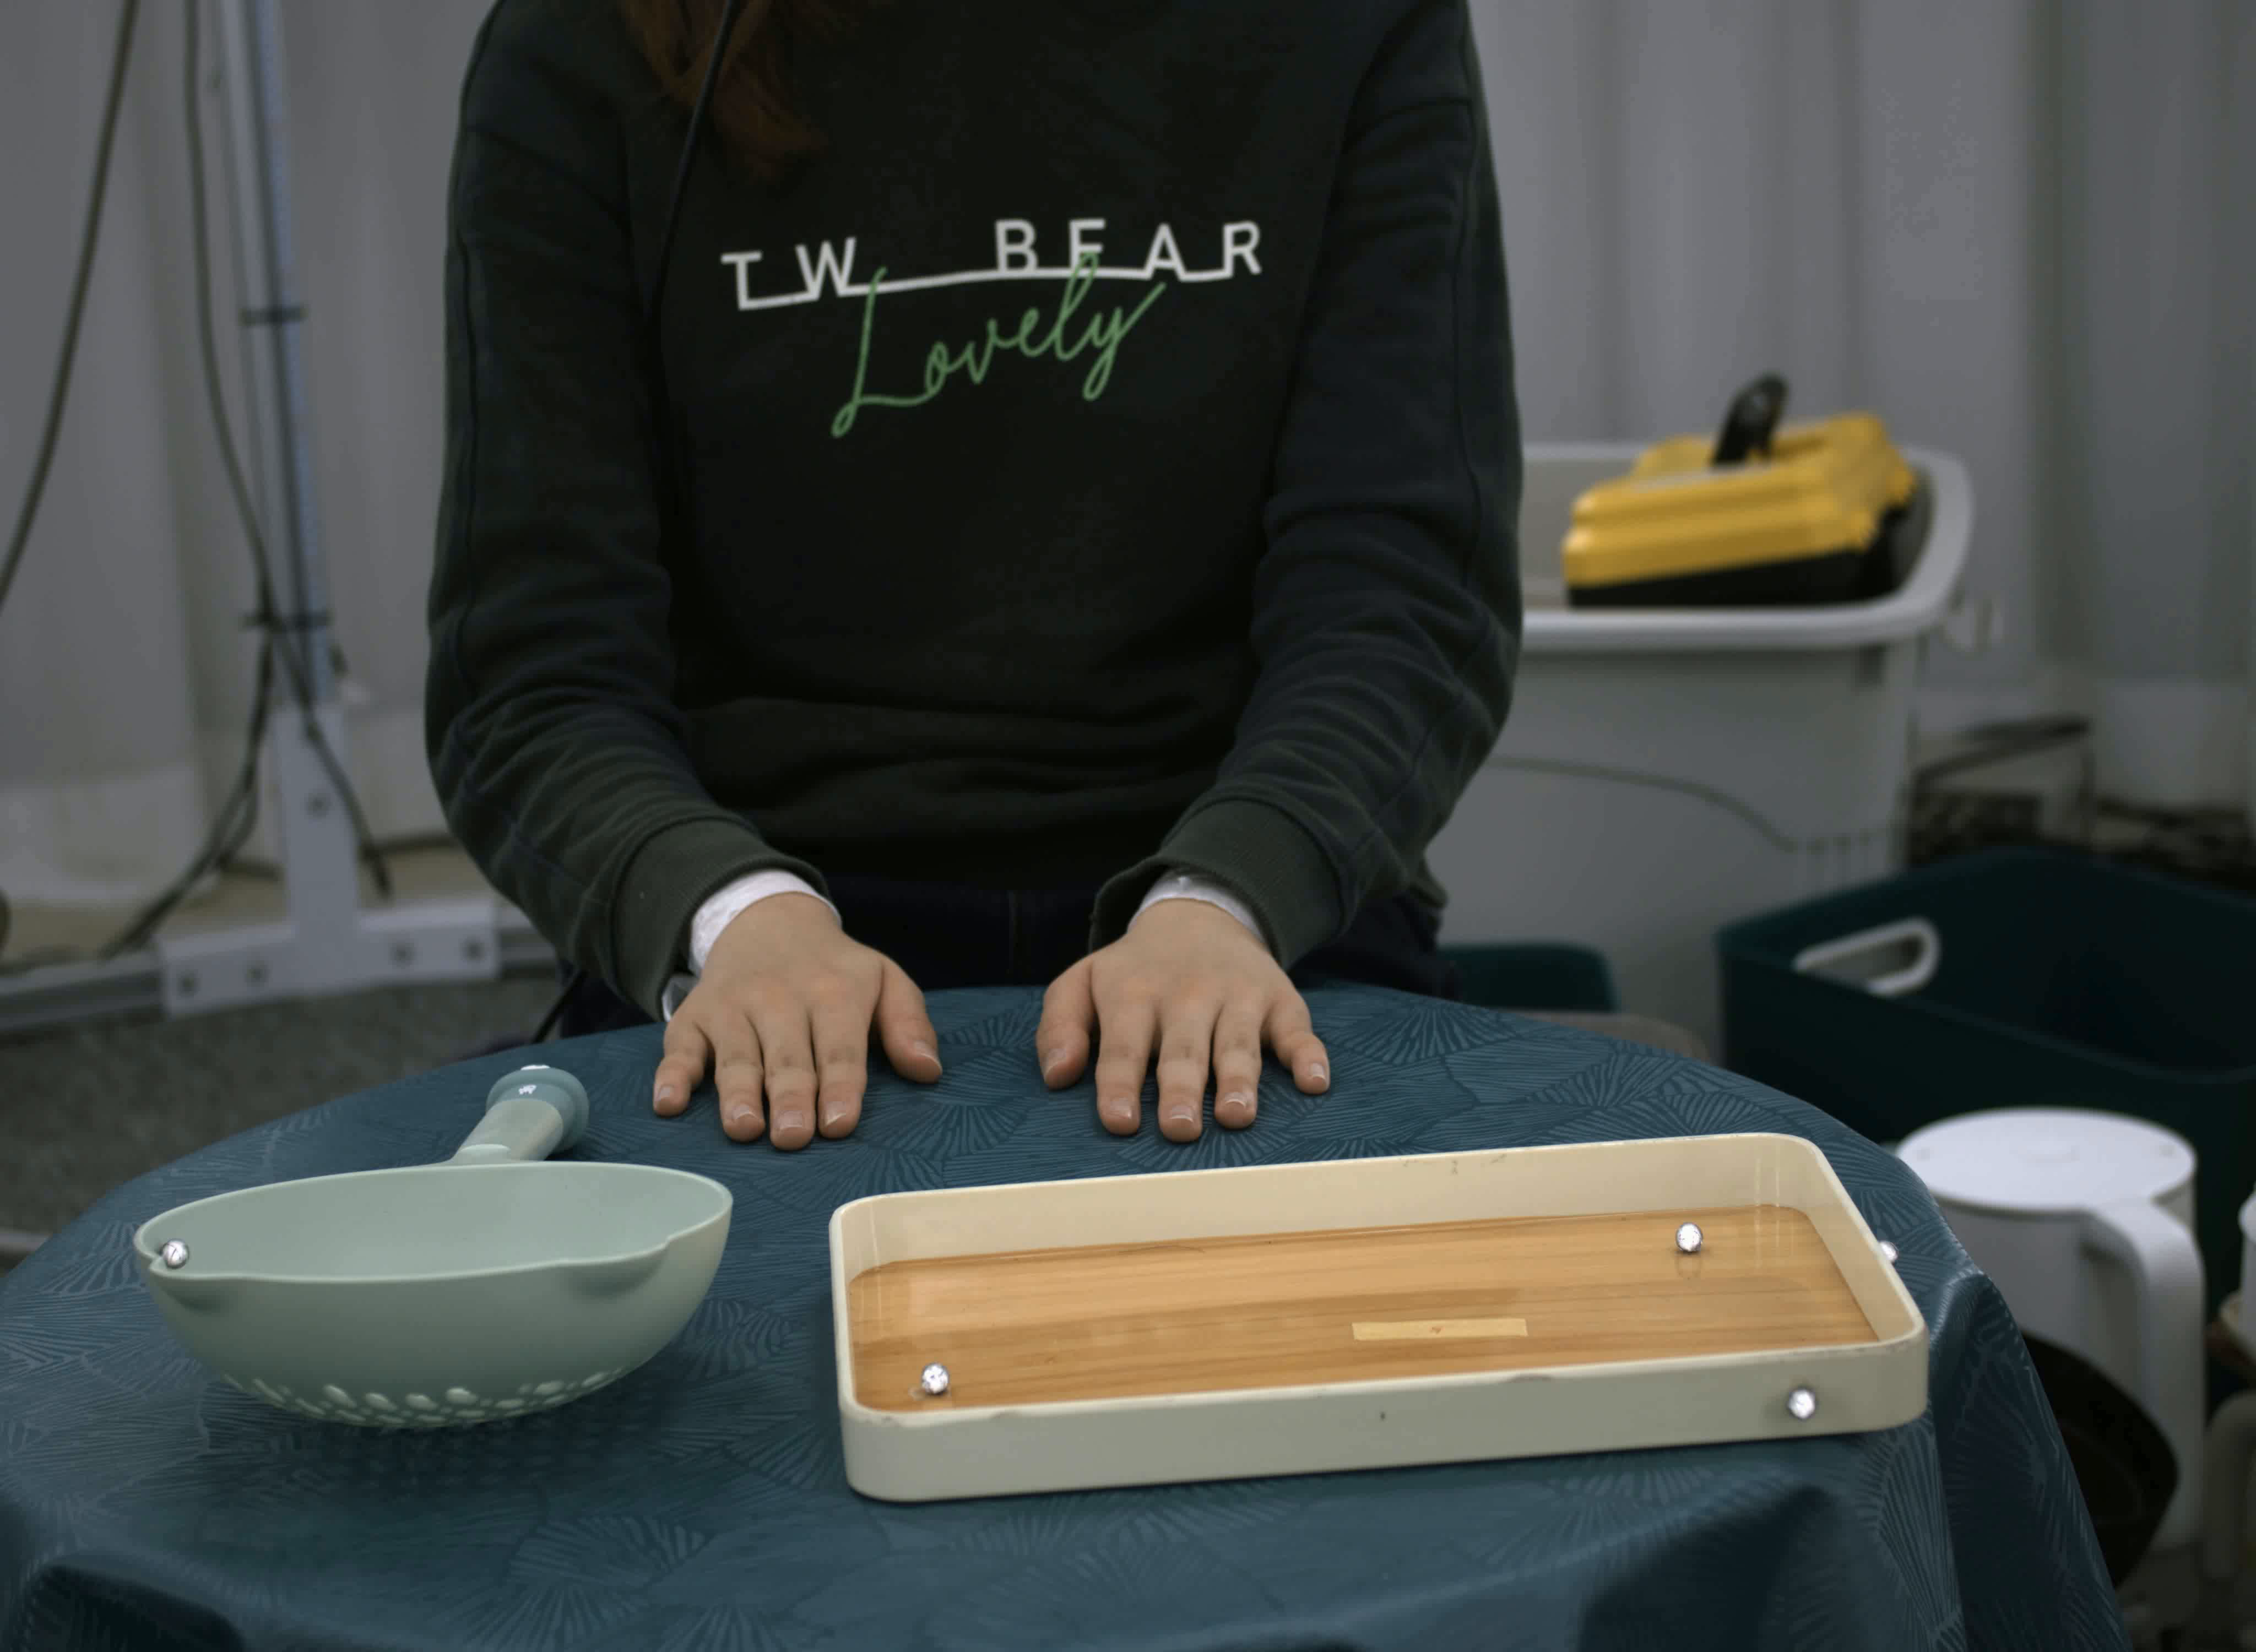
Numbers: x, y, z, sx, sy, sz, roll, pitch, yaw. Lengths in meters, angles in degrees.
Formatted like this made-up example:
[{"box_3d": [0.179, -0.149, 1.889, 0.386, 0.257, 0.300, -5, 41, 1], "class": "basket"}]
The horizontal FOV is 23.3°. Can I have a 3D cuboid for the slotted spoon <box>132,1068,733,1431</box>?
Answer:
[{"box_3d": [-0.193, 0.111, 1.641, 0.169, 0.075, 0.361, -2, 15, 1], "class": "slotted spoon"}]

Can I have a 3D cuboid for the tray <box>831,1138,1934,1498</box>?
[{"box_3d": [0.066, 0.138, 1.562, 0.299, 0.027, 0.193, -3, 15, -3], "class": "tray"}]
